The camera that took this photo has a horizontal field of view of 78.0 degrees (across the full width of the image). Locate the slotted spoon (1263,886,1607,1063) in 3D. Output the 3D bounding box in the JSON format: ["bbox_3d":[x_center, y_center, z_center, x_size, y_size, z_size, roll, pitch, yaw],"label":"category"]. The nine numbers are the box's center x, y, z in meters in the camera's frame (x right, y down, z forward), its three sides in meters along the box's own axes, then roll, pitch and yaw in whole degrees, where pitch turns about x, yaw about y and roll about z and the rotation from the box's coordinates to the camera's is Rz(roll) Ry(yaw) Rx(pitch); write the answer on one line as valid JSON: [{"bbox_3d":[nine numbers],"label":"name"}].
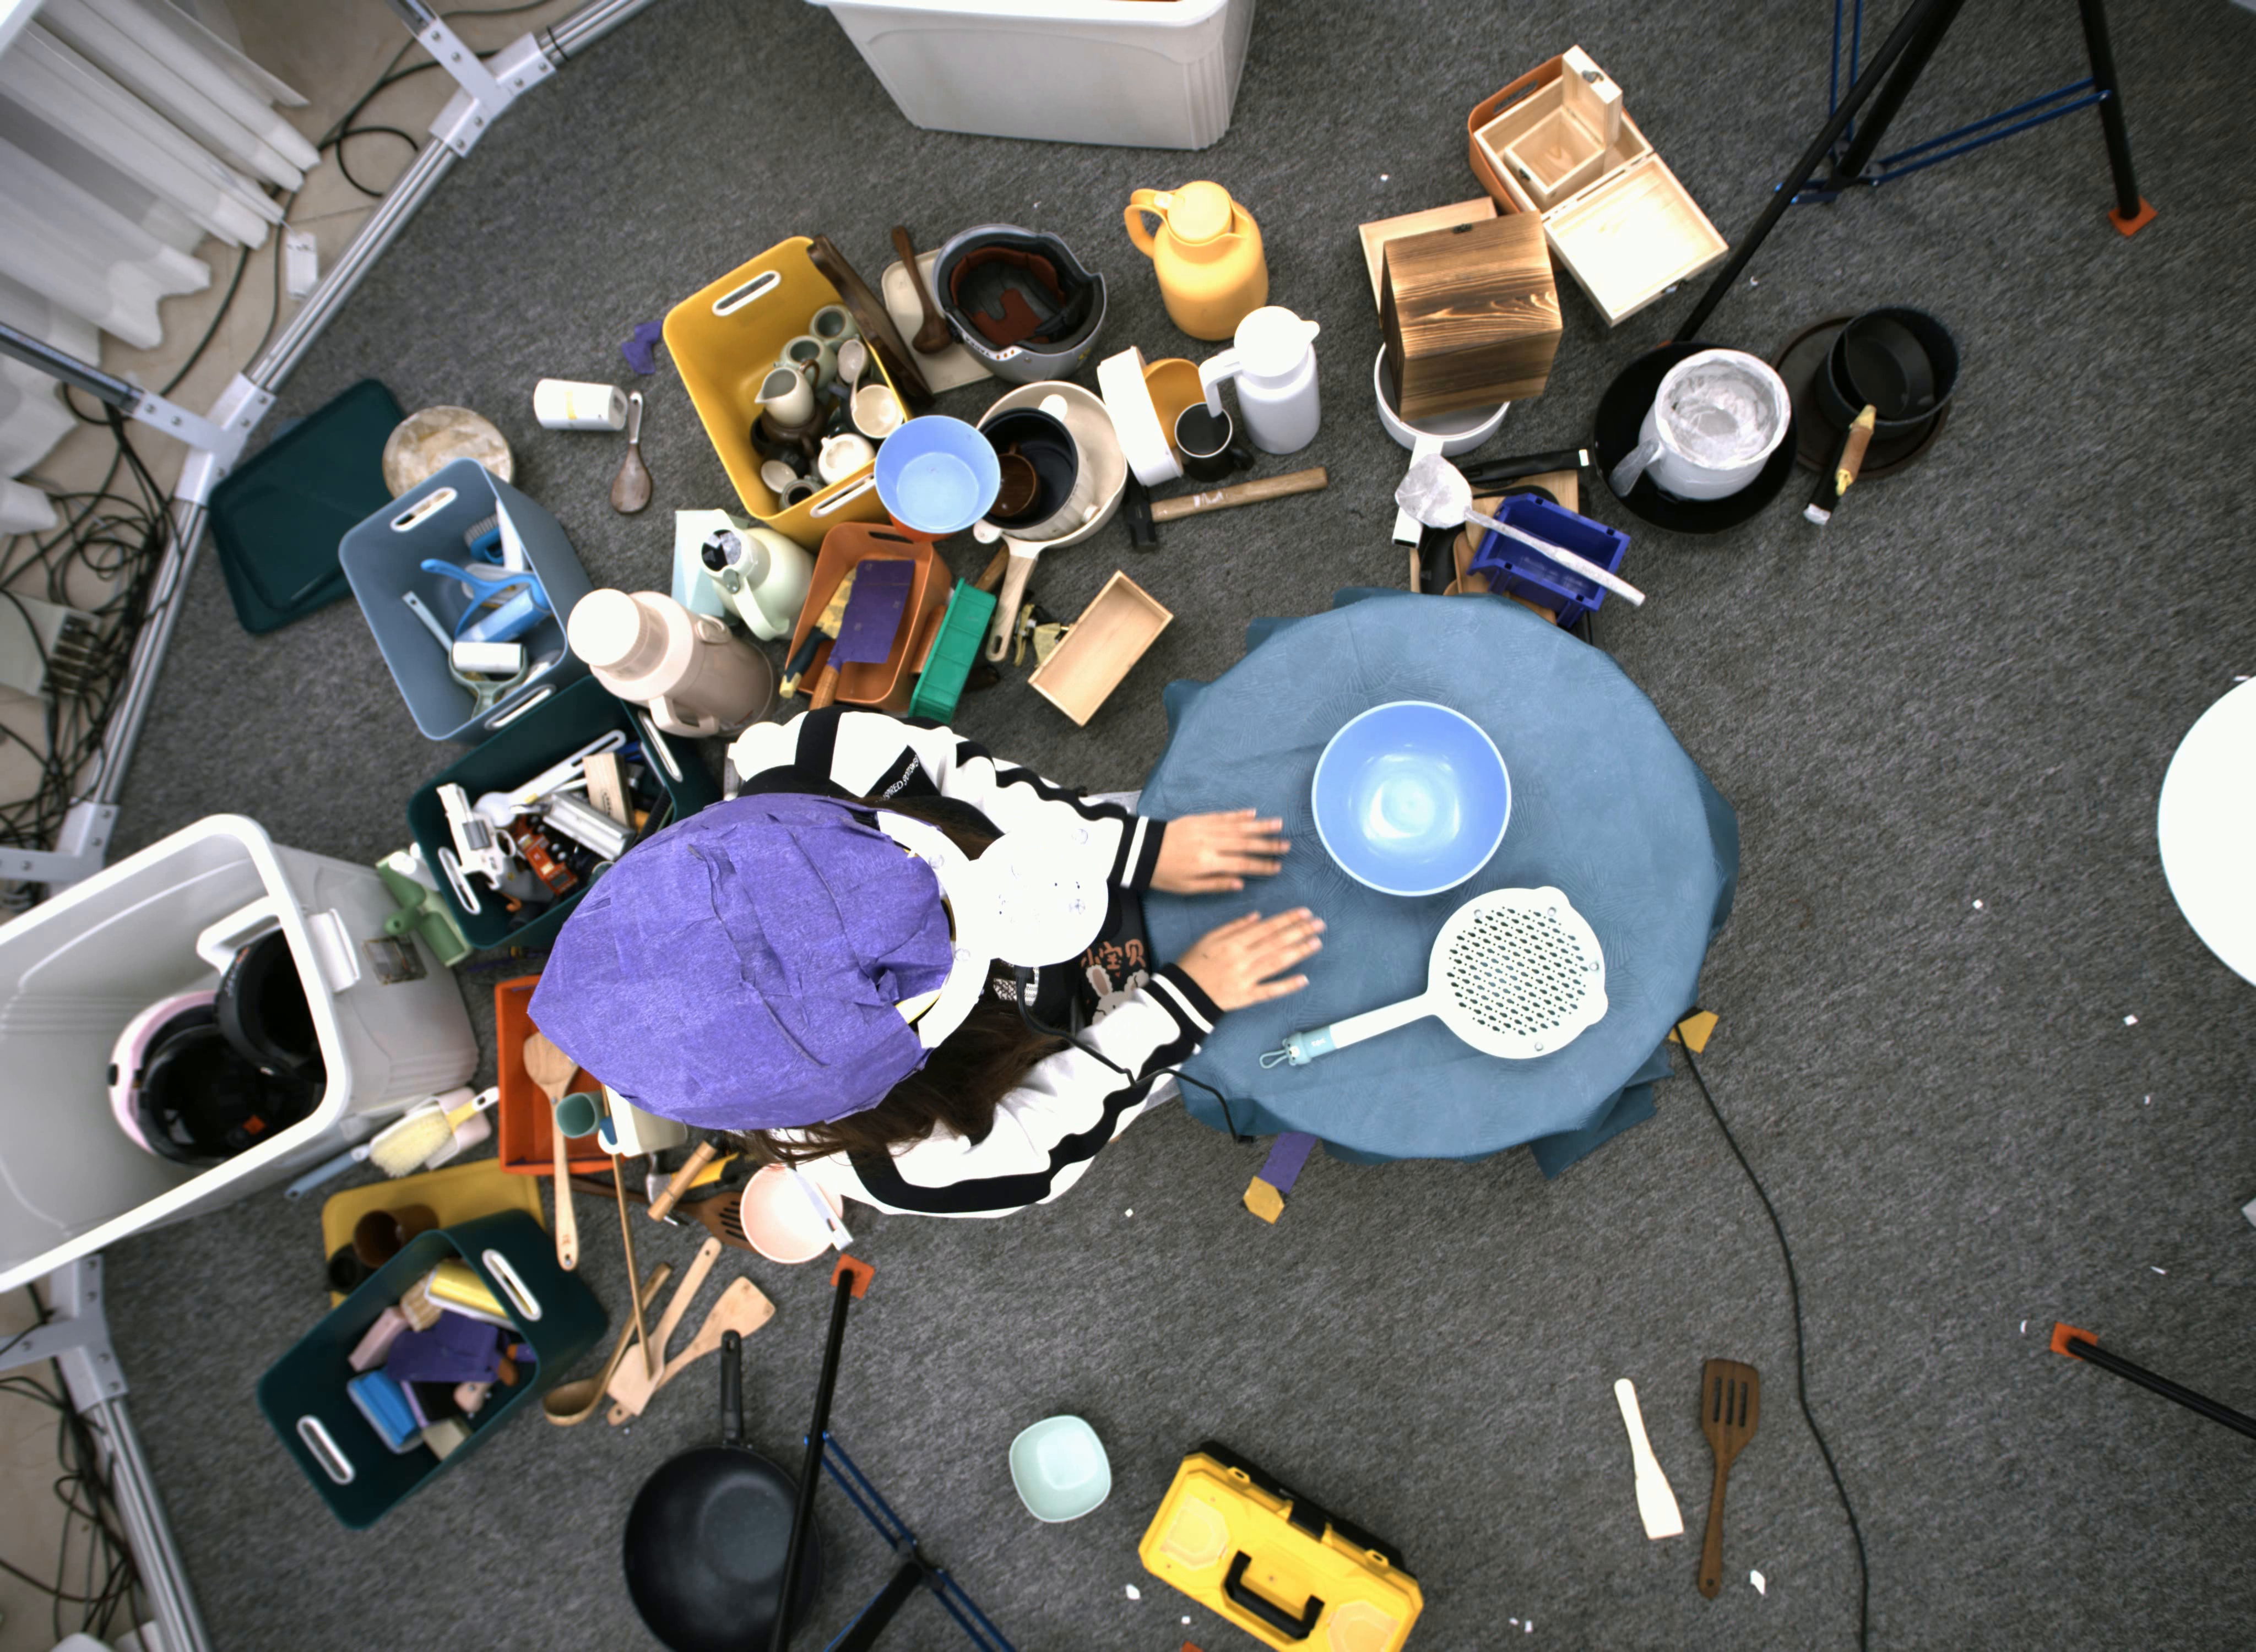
[{"bbox_3d":[0.305,0.181,1.418,0.361,0.075,0.168,-21,82,10],"label":"slotted spoon"}]

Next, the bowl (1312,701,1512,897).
[{"bbox_3d":[0.290,-0.024,1.414,0.197,0.095,0.195,-1,87,10],"label":"bowl"}]
